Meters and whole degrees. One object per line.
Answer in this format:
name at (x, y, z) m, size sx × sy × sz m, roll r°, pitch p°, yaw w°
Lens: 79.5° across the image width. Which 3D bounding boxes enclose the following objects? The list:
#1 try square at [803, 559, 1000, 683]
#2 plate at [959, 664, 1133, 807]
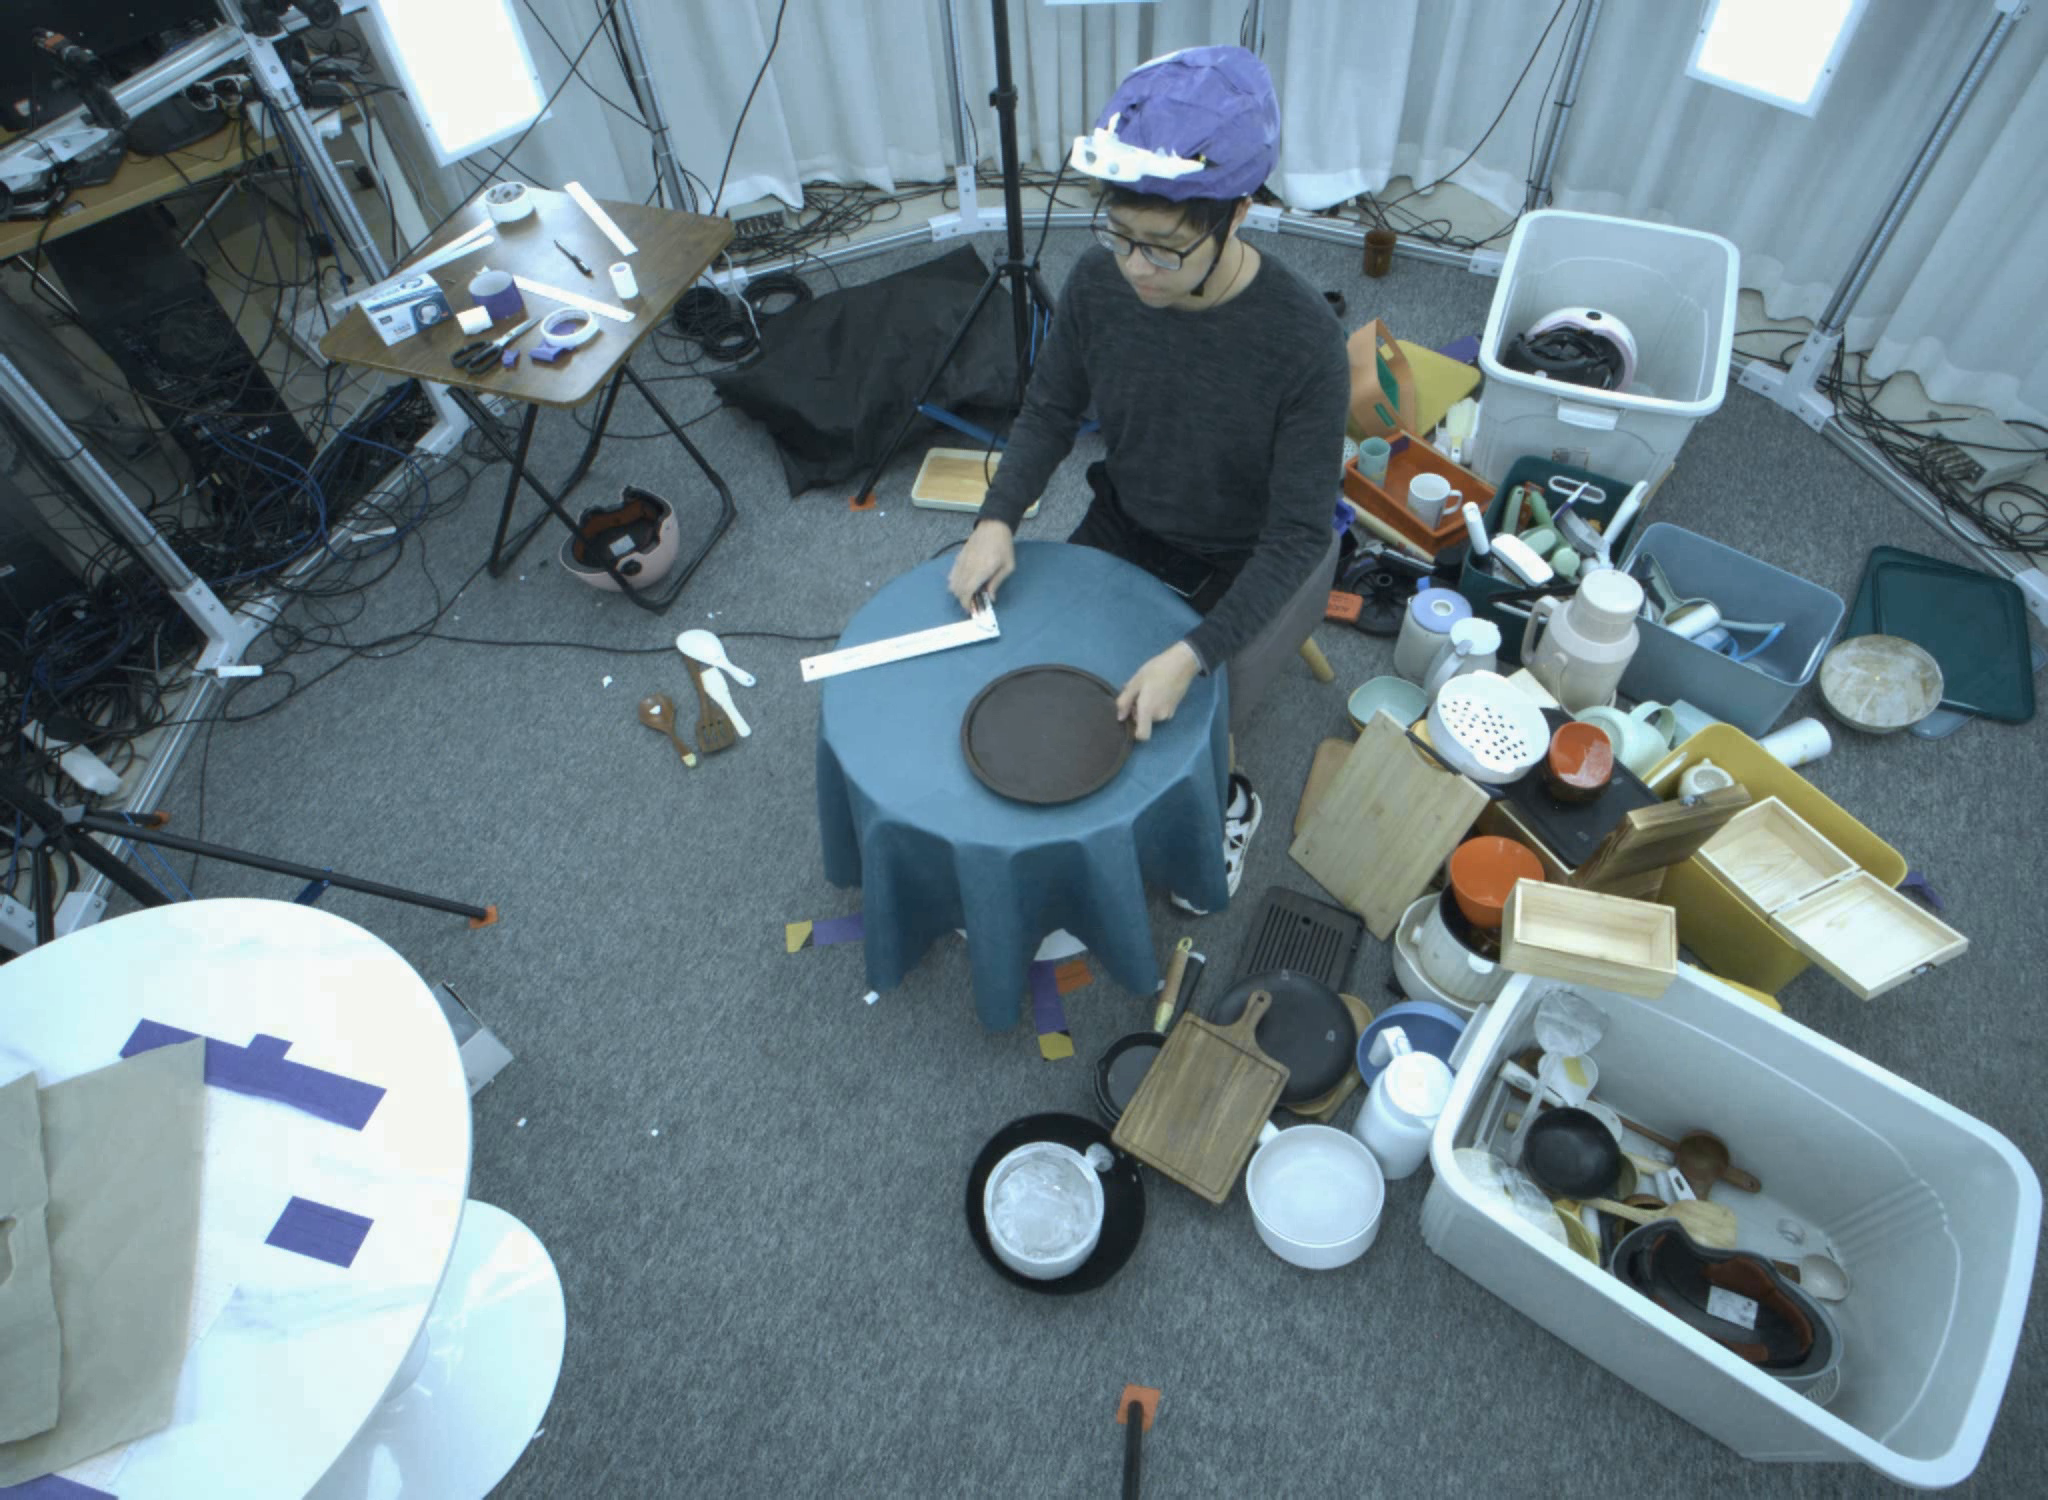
try square at (-0.202, -0.204, 1.922) m, size 0.314 × 0.016 × 0.150 m, roll -14°, pitch 63°, yaw -5°
plate at (0.032, -0.023, 1.789) m, size 0.254 × 0.029 × 0.252 m, roll -1°, pitch 55°, yaw 3°
